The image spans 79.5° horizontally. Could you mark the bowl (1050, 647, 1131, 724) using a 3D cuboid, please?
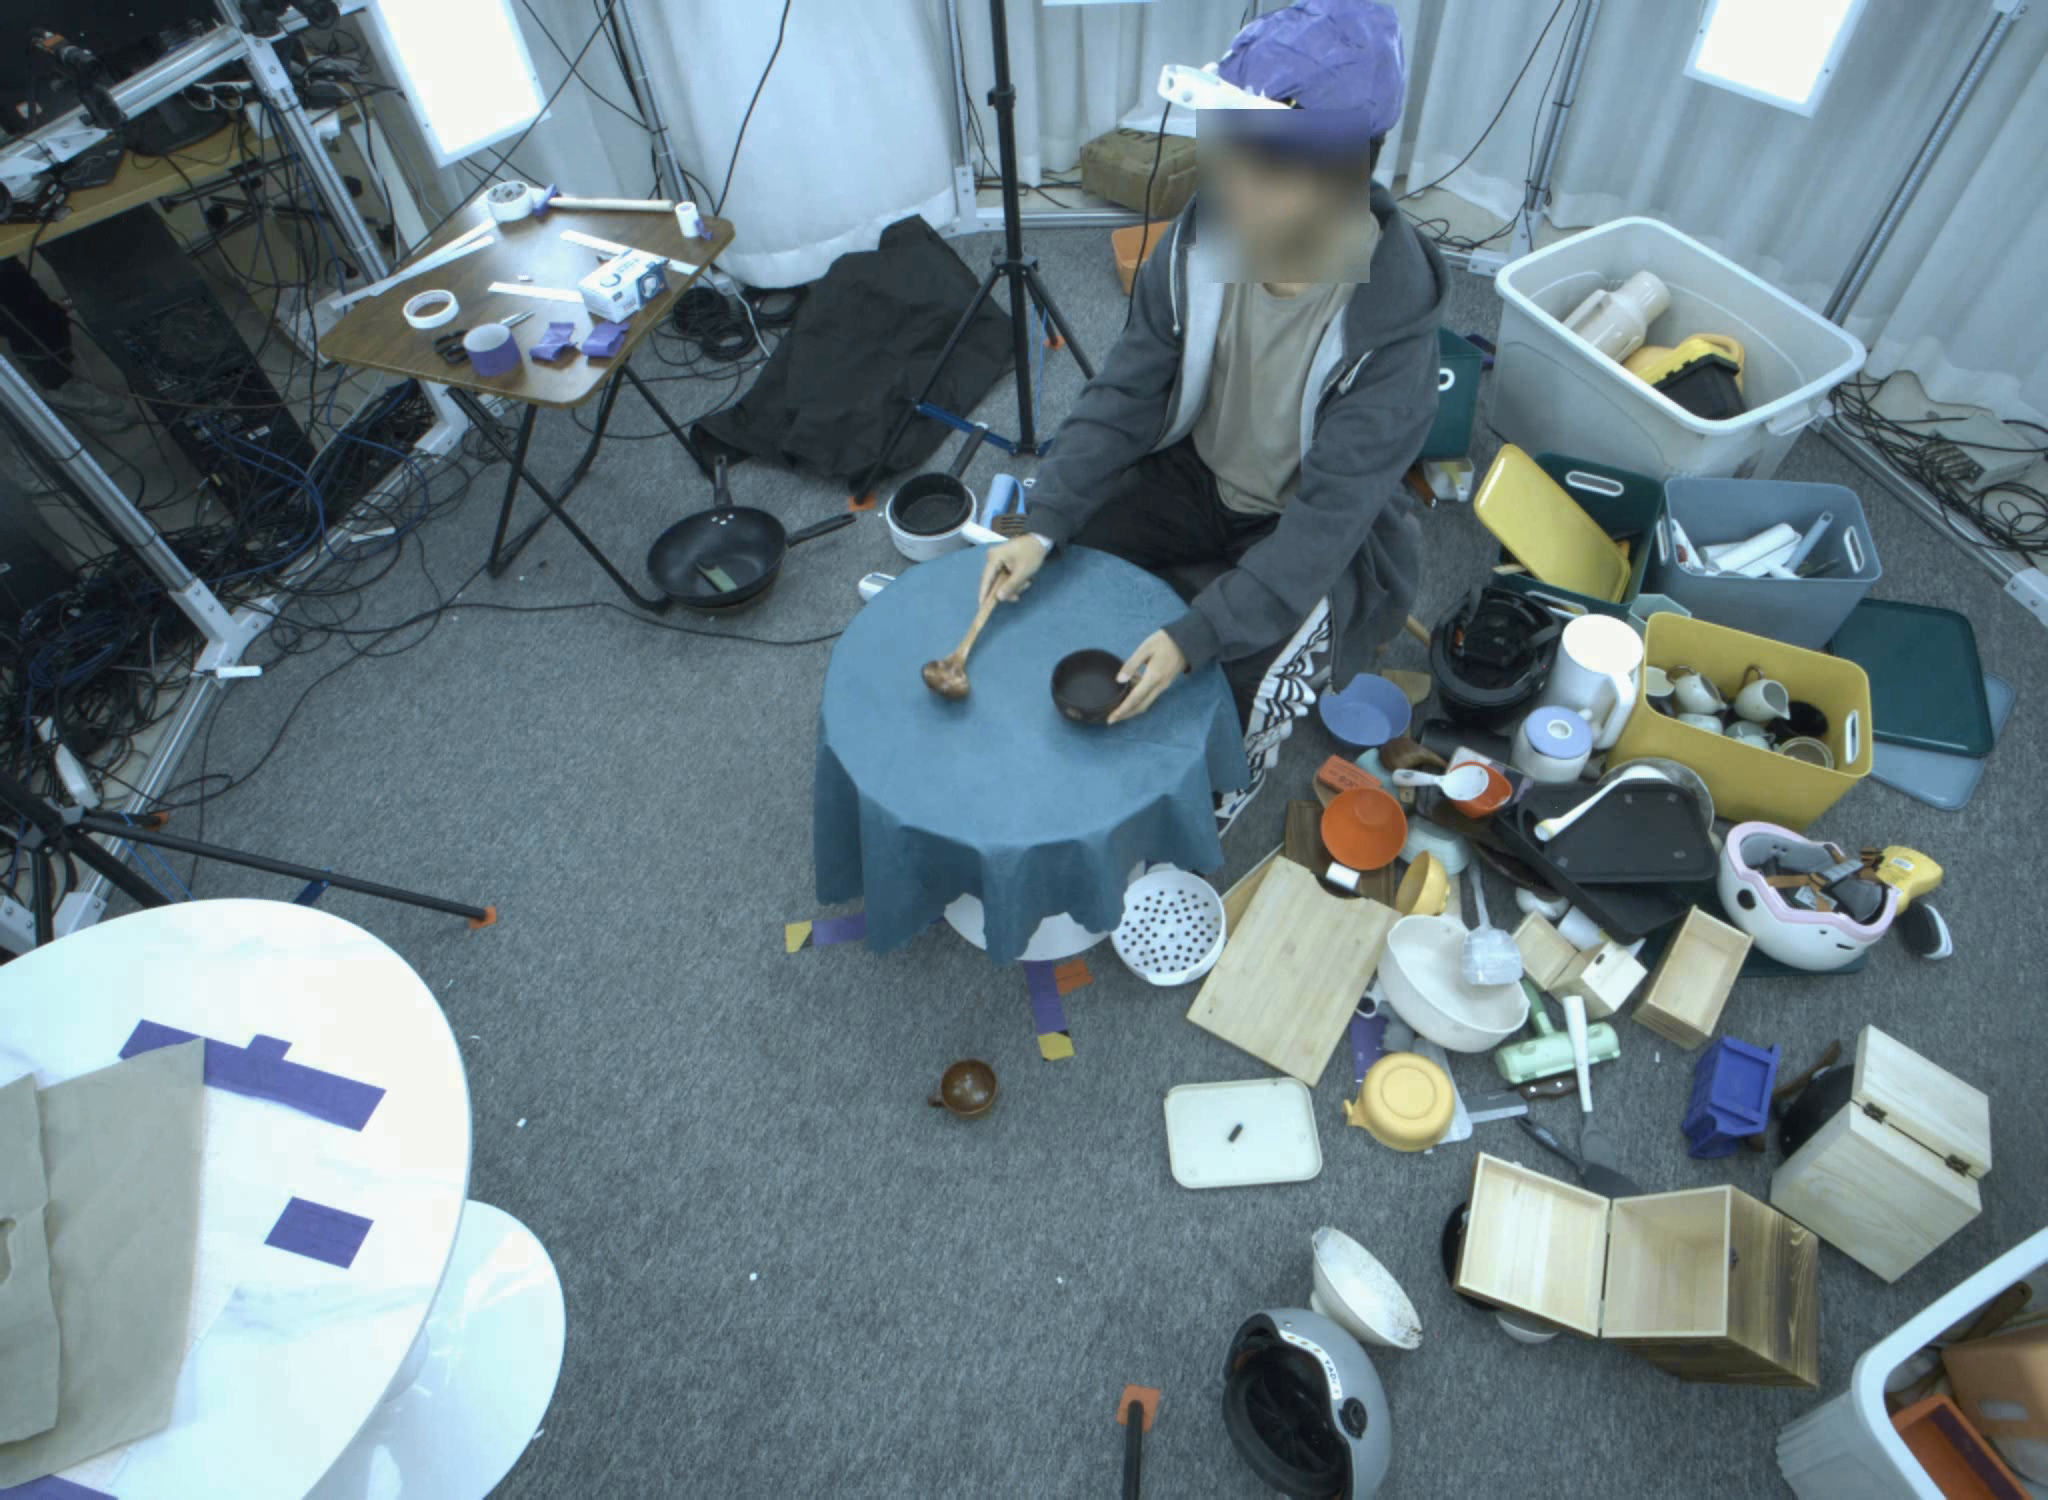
[{"bbox_3d":[0.097,-0.086,1.801,0.118,0.070,0.117,-1,52,2],"label":"bowl"}]

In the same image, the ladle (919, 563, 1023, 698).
[{"bbox_3d":[-0.070,-0.193,1.867,0.082,0.076,0.274,33,69,-7],"label":"ladle"}]
